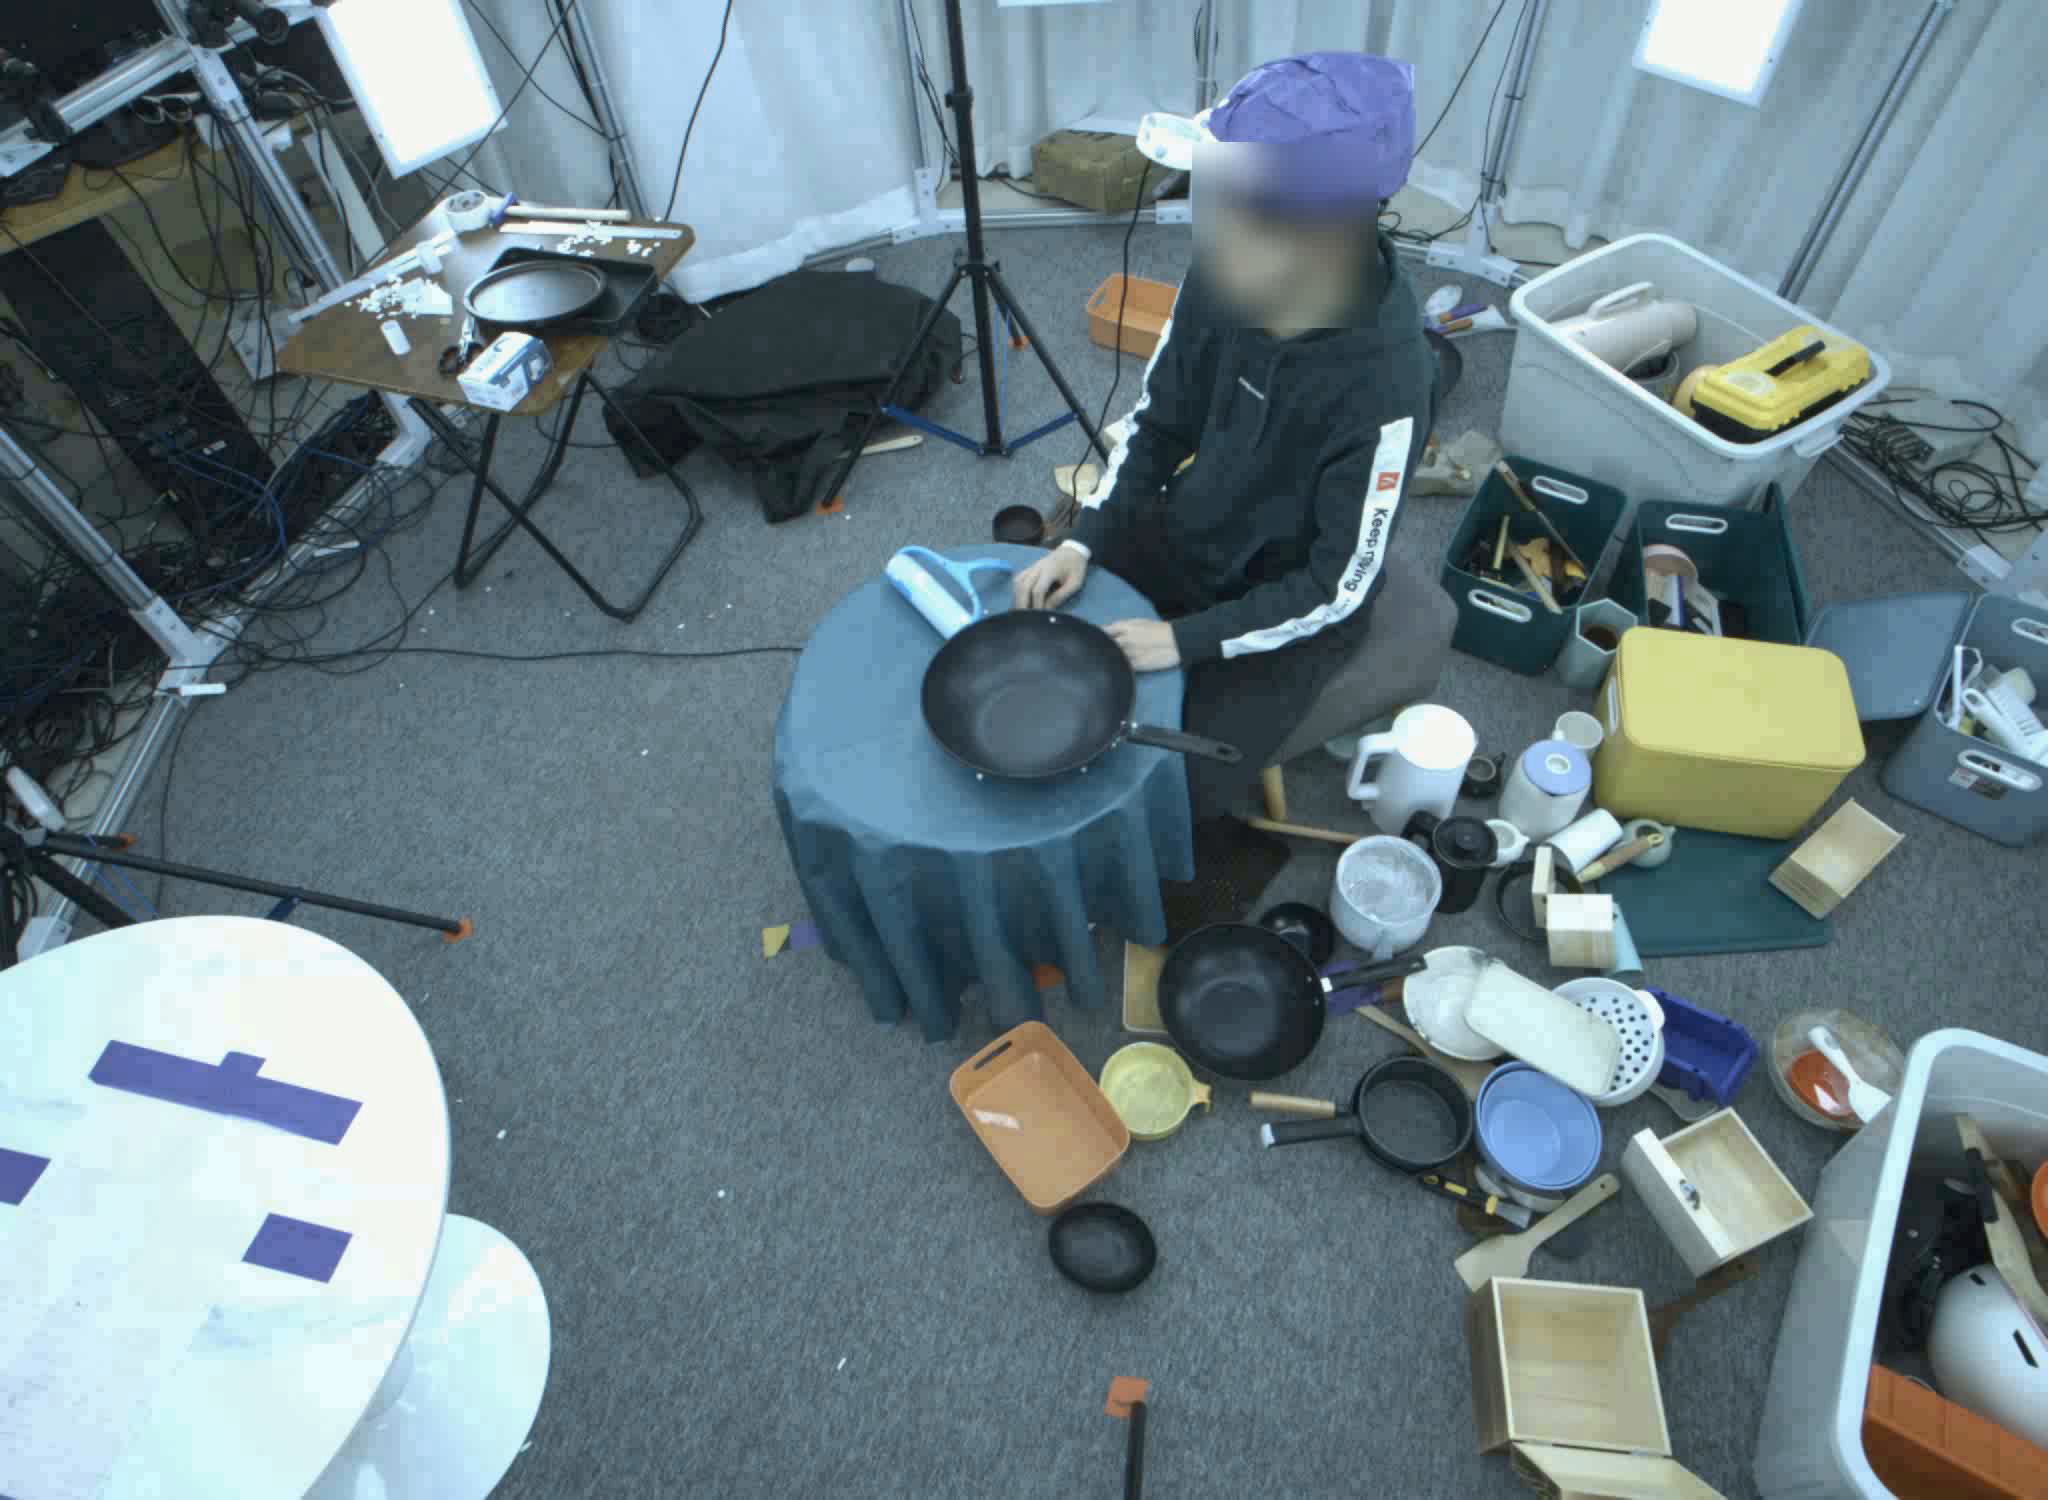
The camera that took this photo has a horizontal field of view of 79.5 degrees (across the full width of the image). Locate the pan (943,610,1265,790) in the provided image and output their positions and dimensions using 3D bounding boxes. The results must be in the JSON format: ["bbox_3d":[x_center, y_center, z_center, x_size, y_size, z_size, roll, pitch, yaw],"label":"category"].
[{"bbox_3d":[0.114,-0.034,1.738,0.470,0.113,0.311,23,60,17],"label":"pan"}]

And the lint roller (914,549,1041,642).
[{"bbox_3d":[-0.051,-0.262,1.937,0.181,0.069,0.224,-35,58,-19],"label":"lint roller"}]
